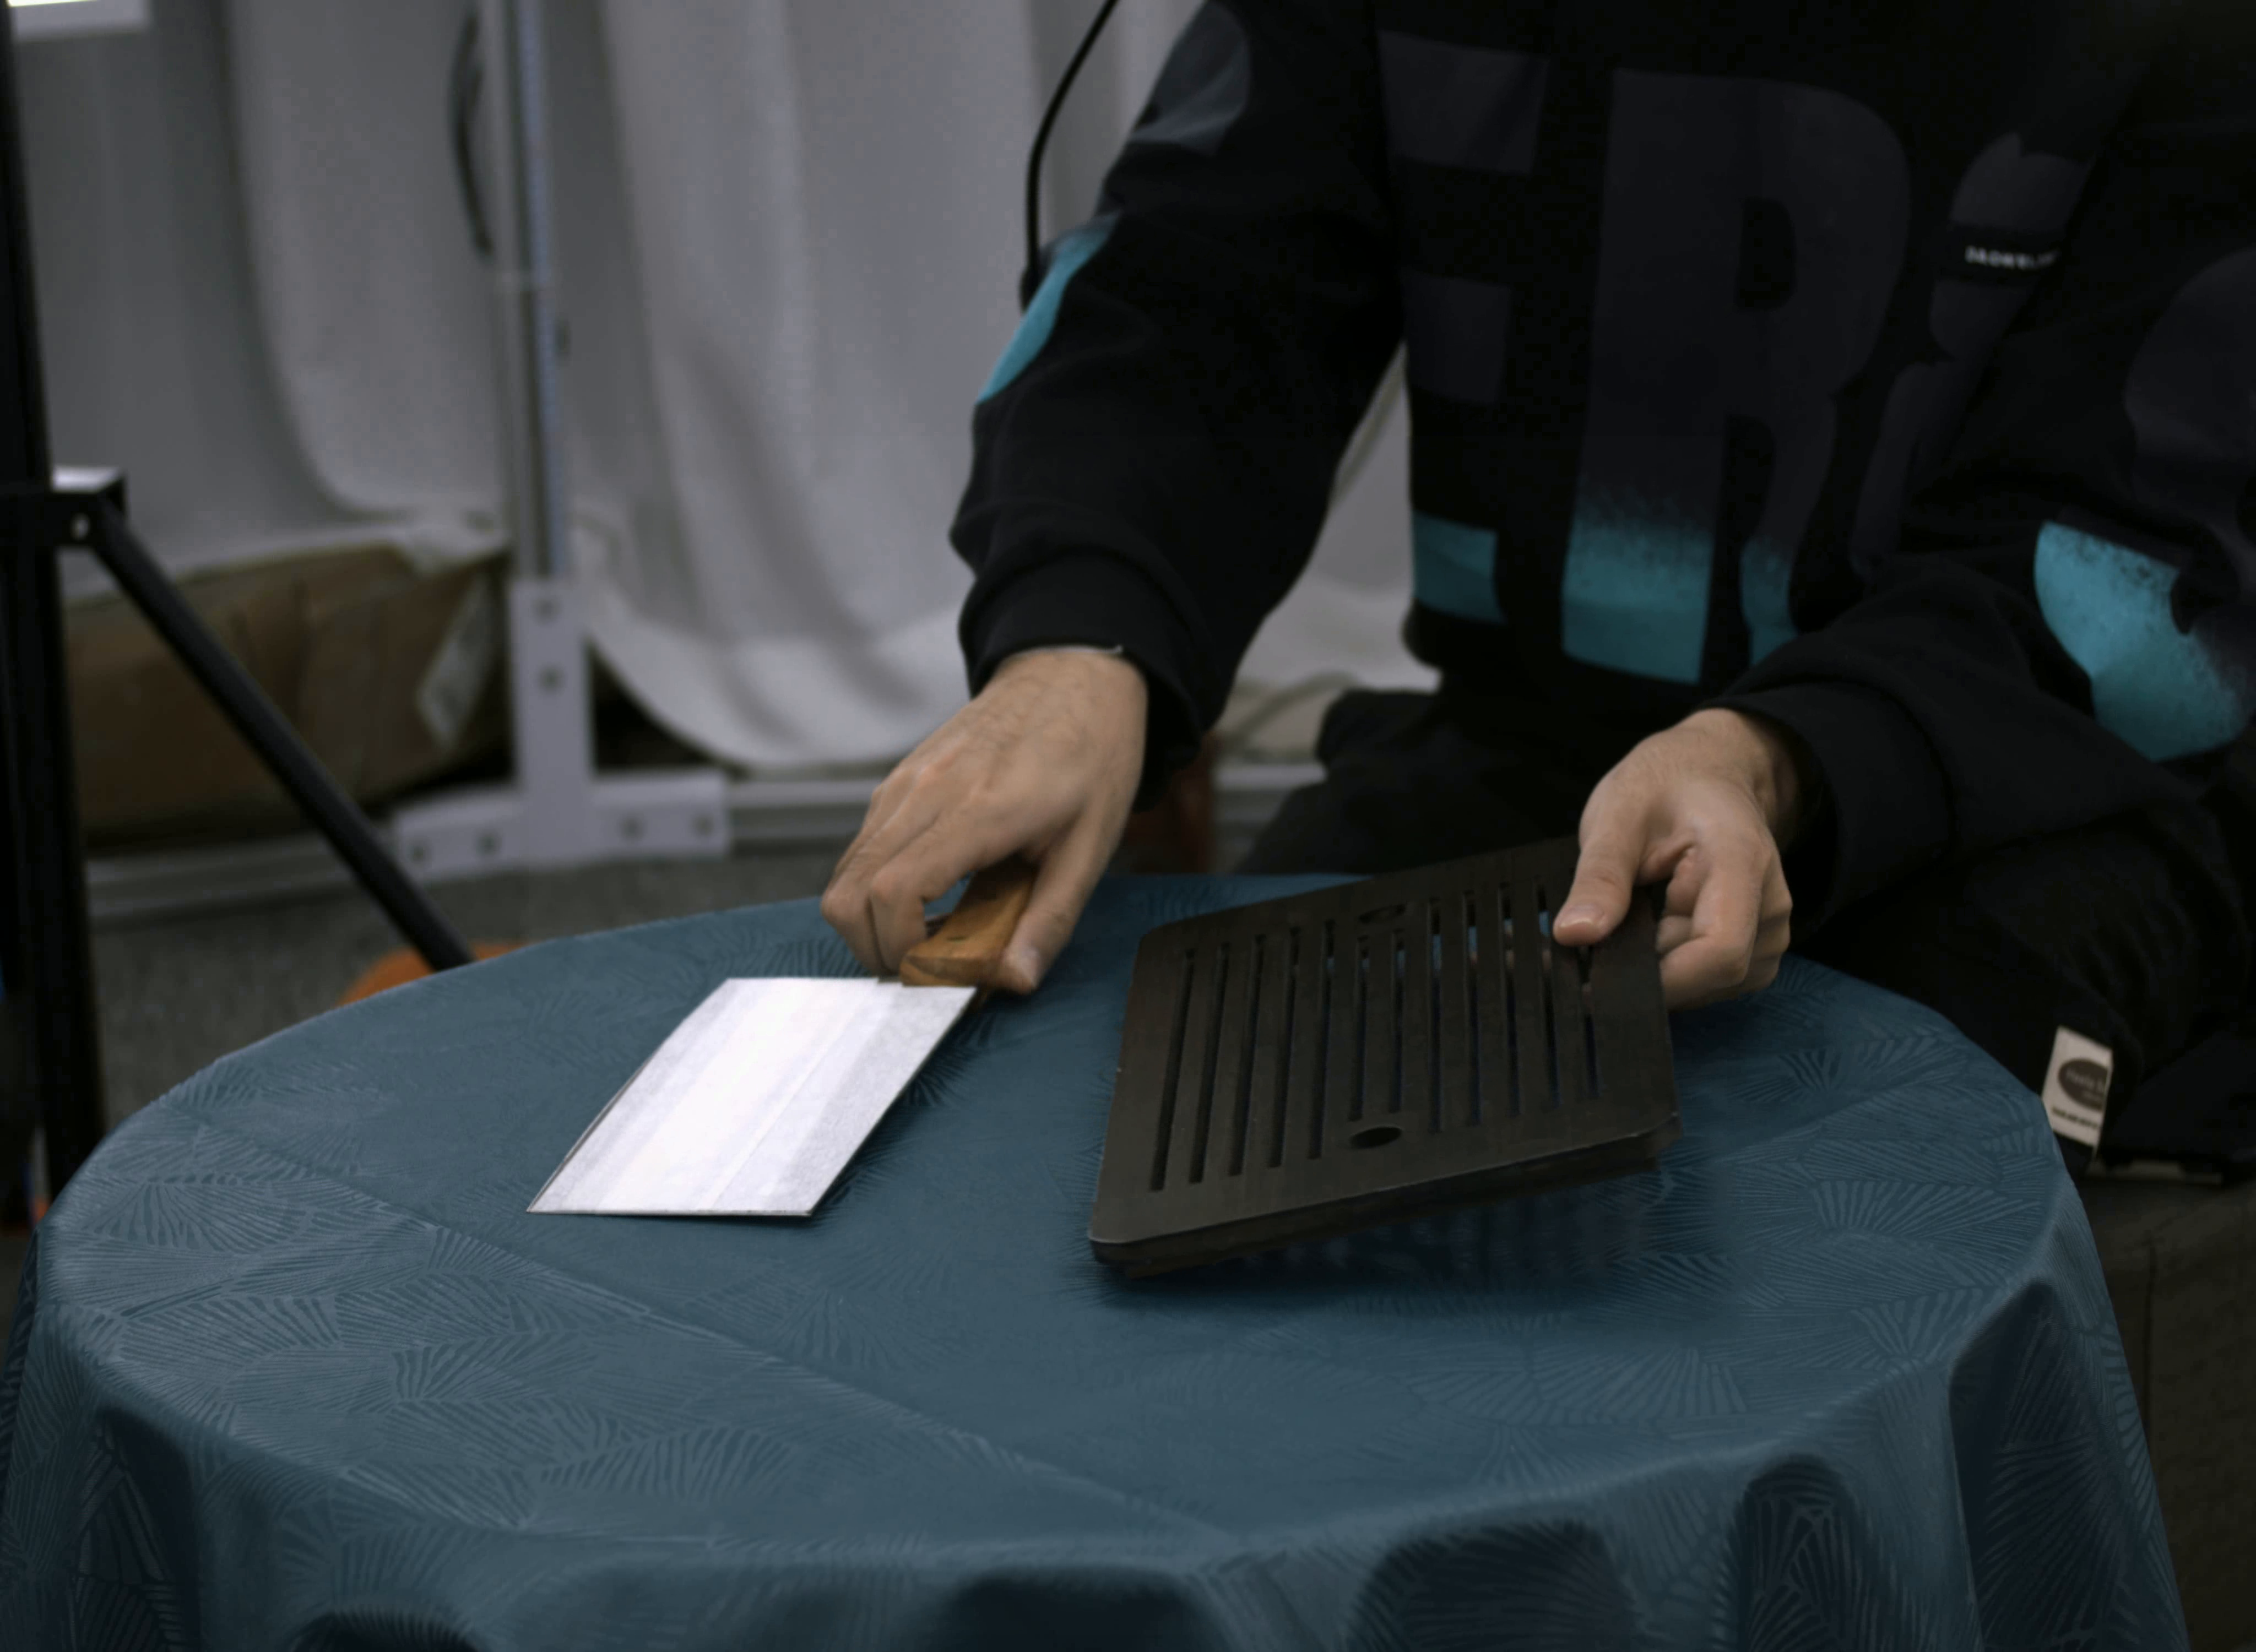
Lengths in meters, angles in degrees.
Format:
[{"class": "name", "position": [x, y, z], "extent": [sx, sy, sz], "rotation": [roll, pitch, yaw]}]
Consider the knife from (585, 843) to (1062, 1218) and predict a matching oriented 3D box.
[{"class": "knife", "position": [-0.095, 0.064, 1.692], "extent": [0.094, 0.021, 0.303], "rotation": [-1, 19, 16]}]

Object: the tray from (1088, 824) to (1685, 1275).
[{"class": "tray", "position": [0.081, 0.065, 1.607], "extent": [0.170, 0.018, 0.306], "rotation": [-13, 15, 8]}]
